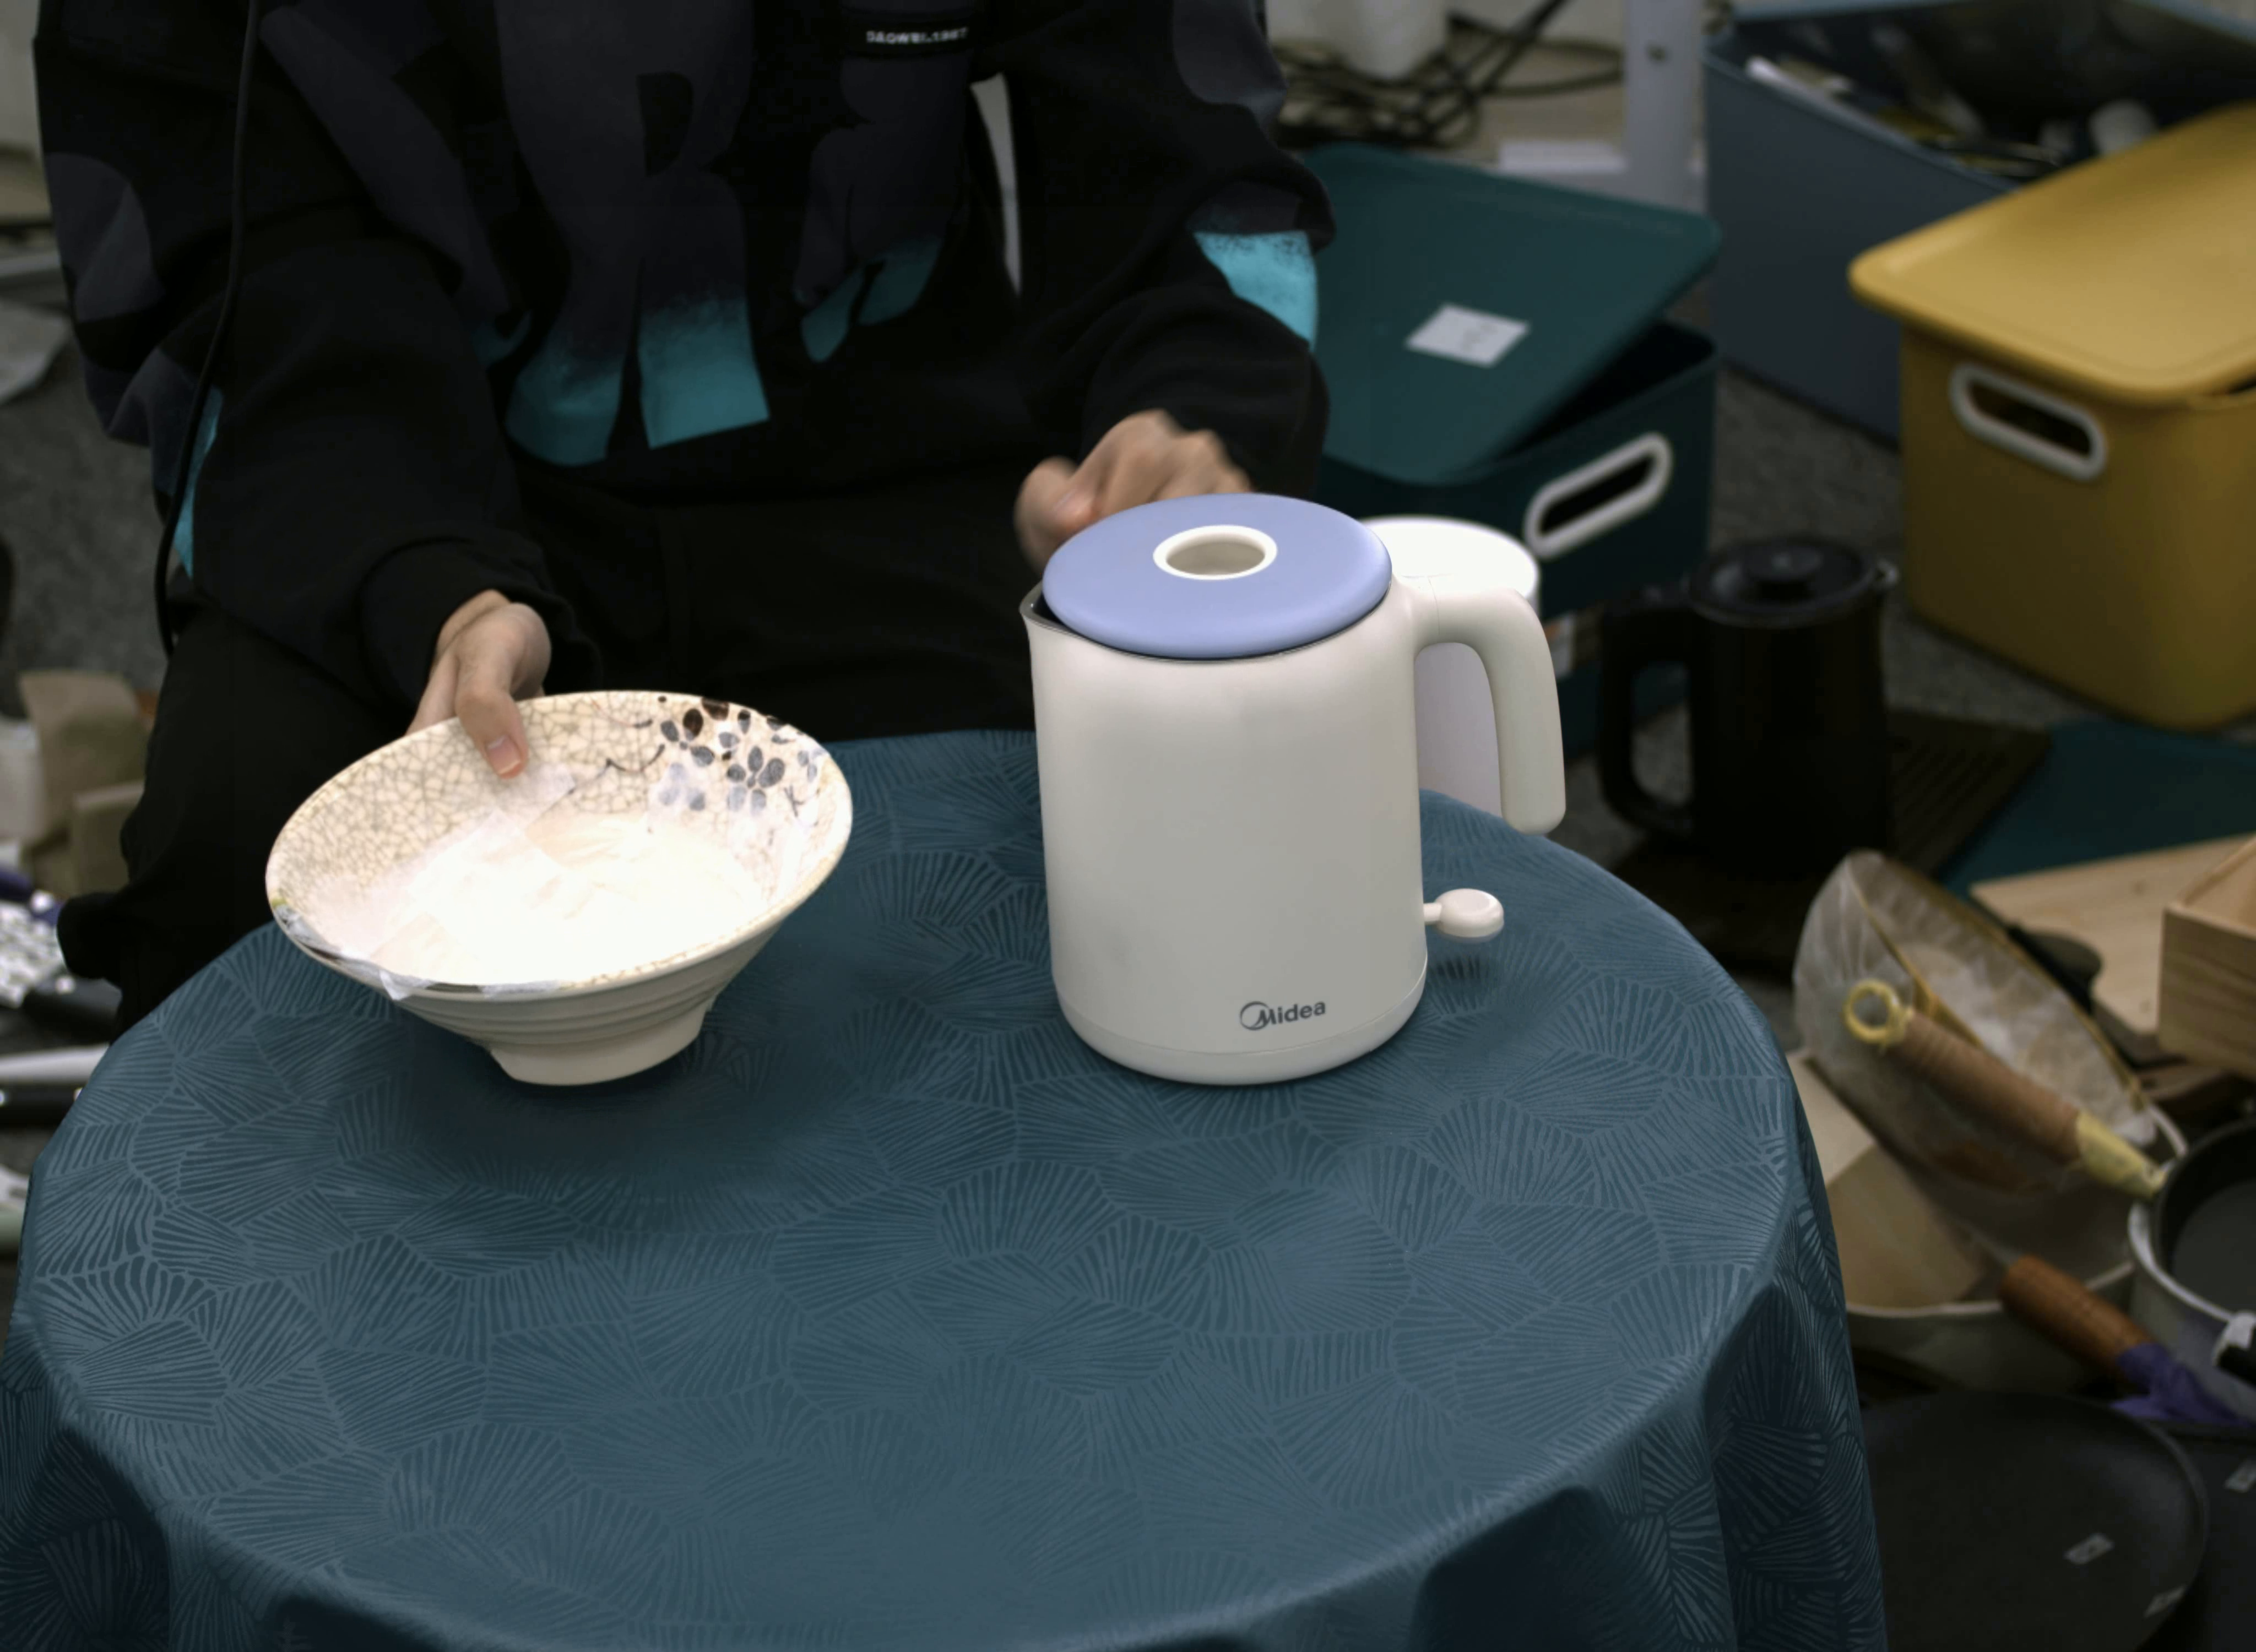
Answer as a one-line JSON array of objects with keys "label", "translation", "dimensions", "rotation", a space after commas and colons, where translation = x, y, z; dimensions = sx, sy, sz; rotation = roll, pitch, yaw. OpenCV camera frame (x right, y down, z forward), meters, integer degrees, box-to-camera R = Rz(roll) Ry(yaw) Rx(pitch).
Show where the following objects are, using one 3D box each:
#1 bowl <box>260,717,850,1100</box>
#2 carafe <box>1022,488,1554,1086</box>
[{"label": "bowl", "translation": [-0.193, 0.040, 1.943], "dimensions": [0.203, 0.077, 0.207], "rotation": [-4, 26, 2]}, {"label": "carafe", "translation": [0.057, -0.017, 1.939], "dimensions": [0.191, 0.180, 0.133], "rotation": [-7, 28, -13]}]
